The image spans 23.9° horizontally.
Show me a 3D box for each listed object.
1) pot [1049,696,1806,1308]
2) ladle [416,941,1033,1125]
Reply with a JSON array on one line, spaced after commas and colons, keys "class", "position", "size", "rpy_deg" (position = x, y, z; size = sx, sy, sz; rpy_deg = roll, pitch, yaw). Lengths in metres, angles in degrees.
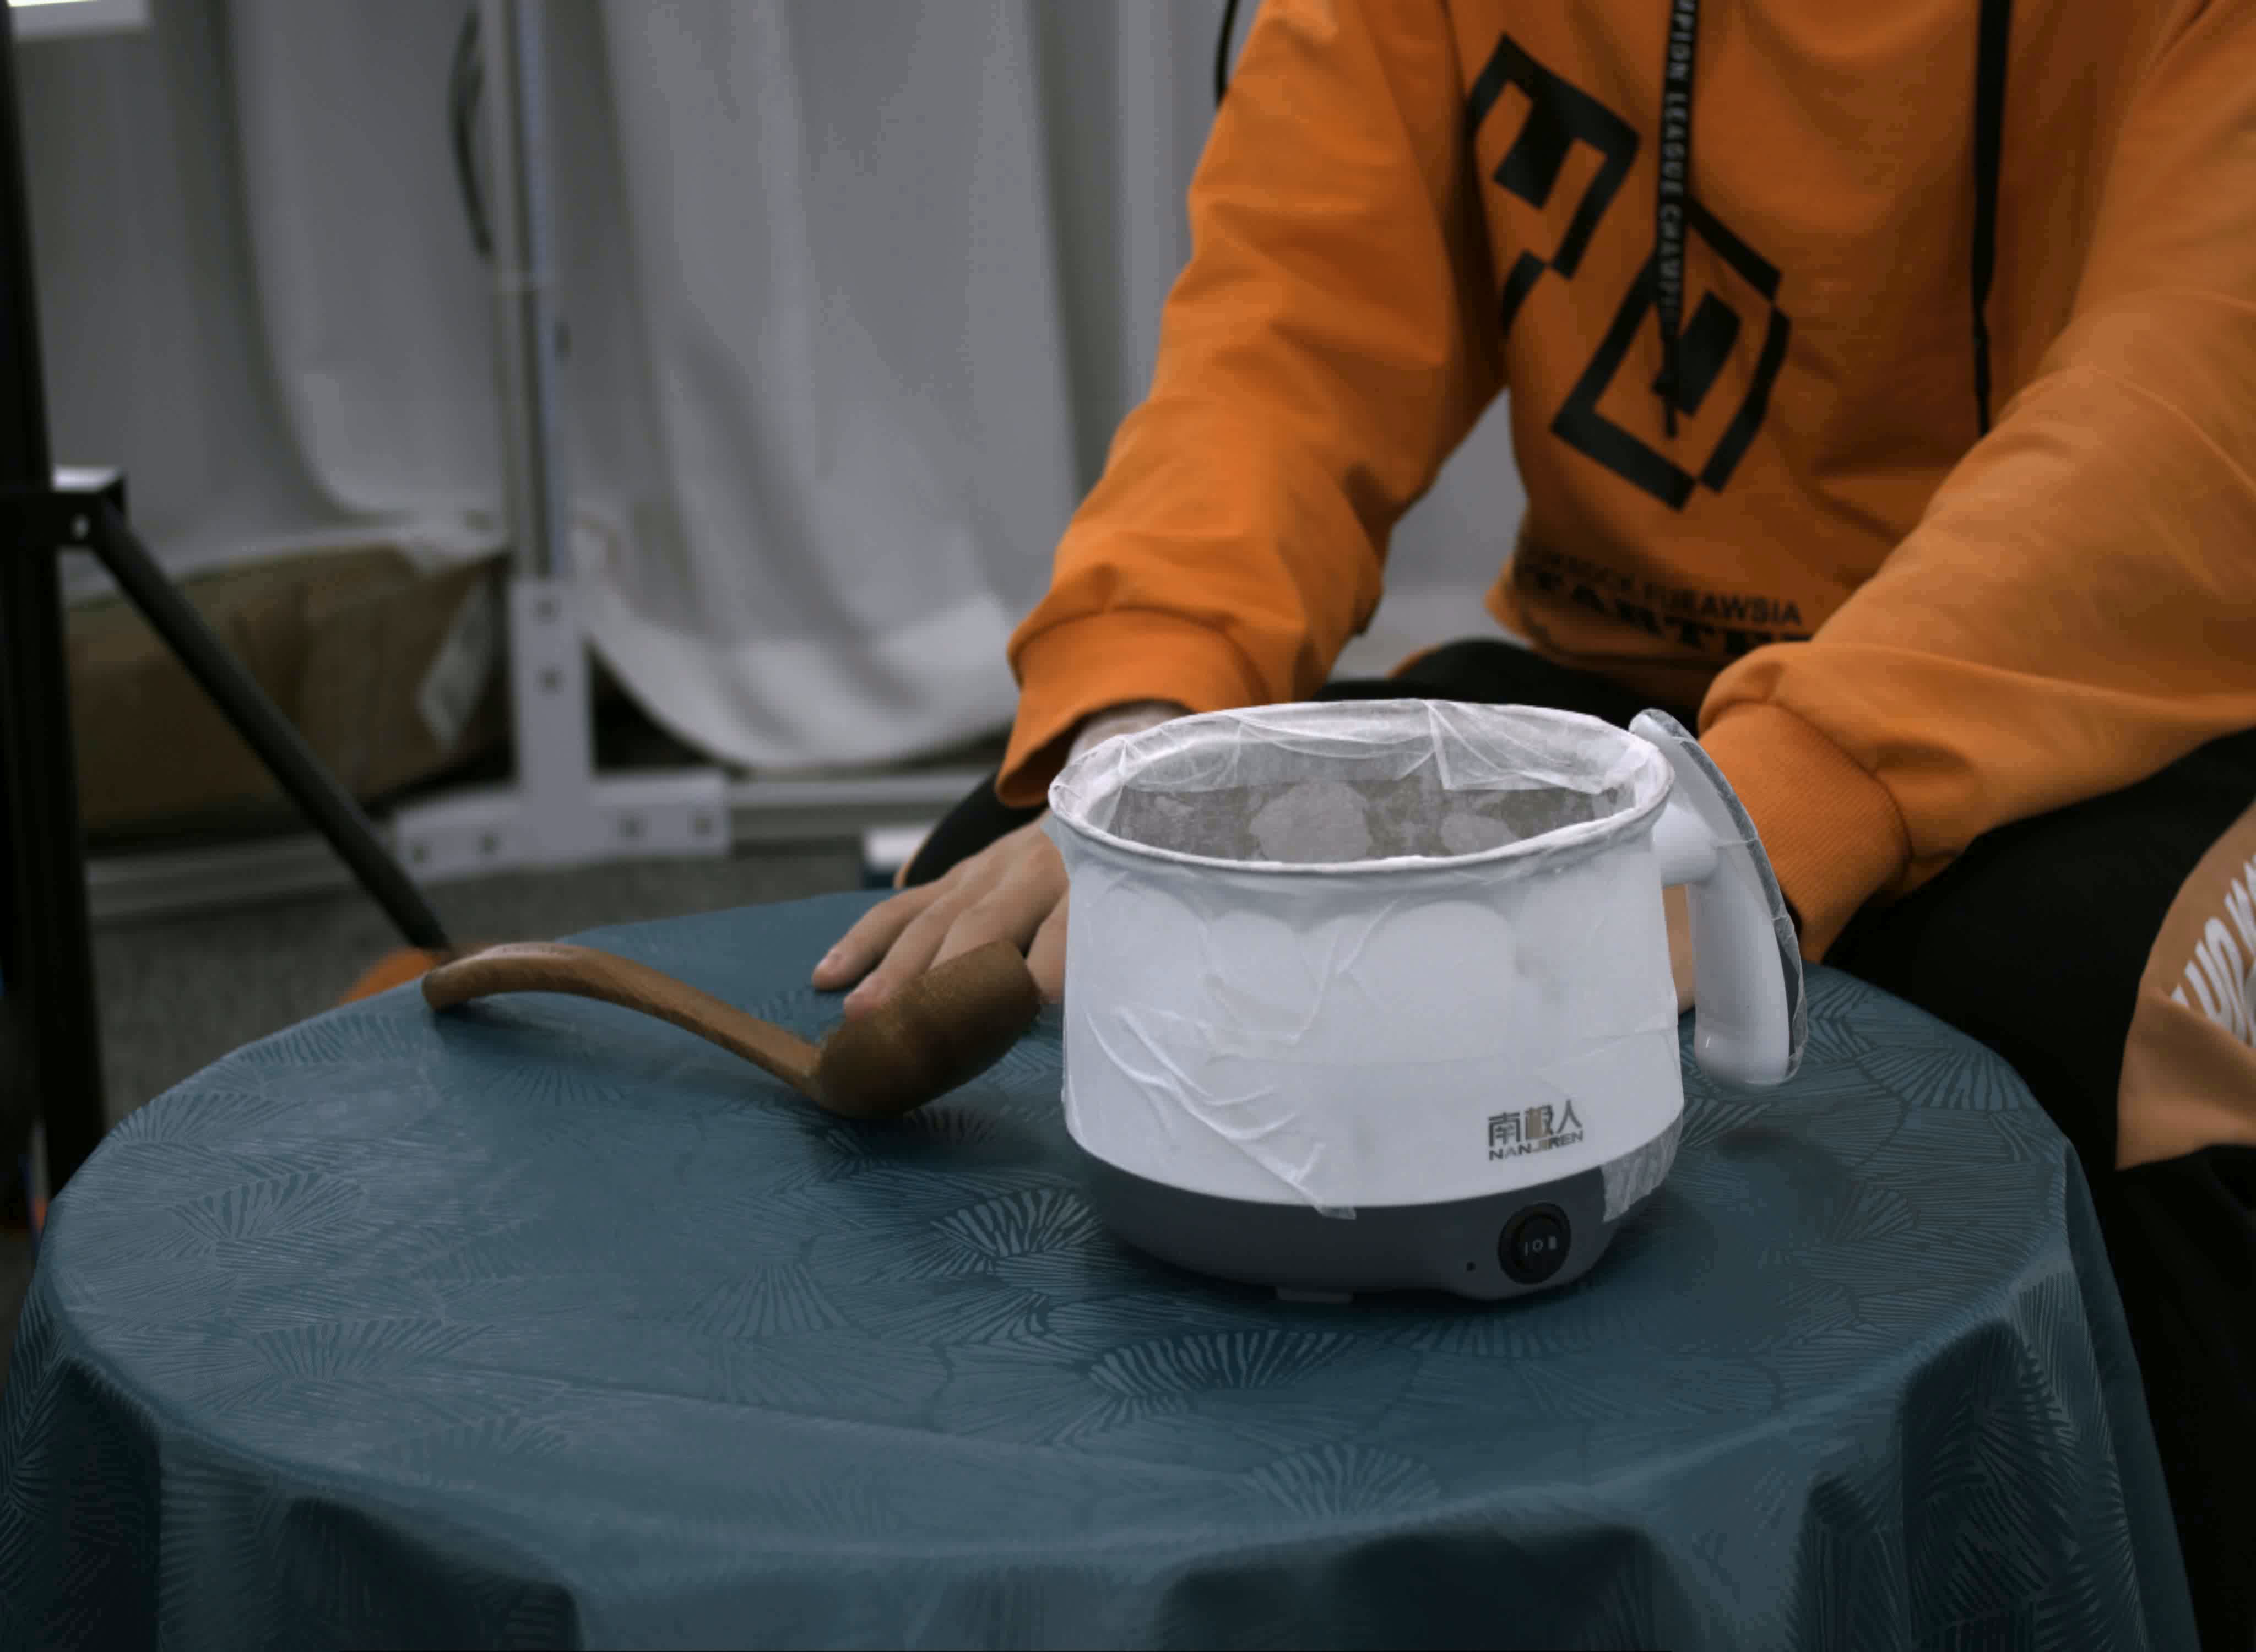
[{"class": "pot", "position": [0.092, 0.043, 1.519], "size": [0.229, 0.136, 0.182], "rpy_deg": [-11, 18, -27]}, {"class": "ladle", "position": [-0.135, 0.048, 1.677], "size": [0.266, 0.065, 0.075], "rpy_deg": [12, 19, 42]}]
